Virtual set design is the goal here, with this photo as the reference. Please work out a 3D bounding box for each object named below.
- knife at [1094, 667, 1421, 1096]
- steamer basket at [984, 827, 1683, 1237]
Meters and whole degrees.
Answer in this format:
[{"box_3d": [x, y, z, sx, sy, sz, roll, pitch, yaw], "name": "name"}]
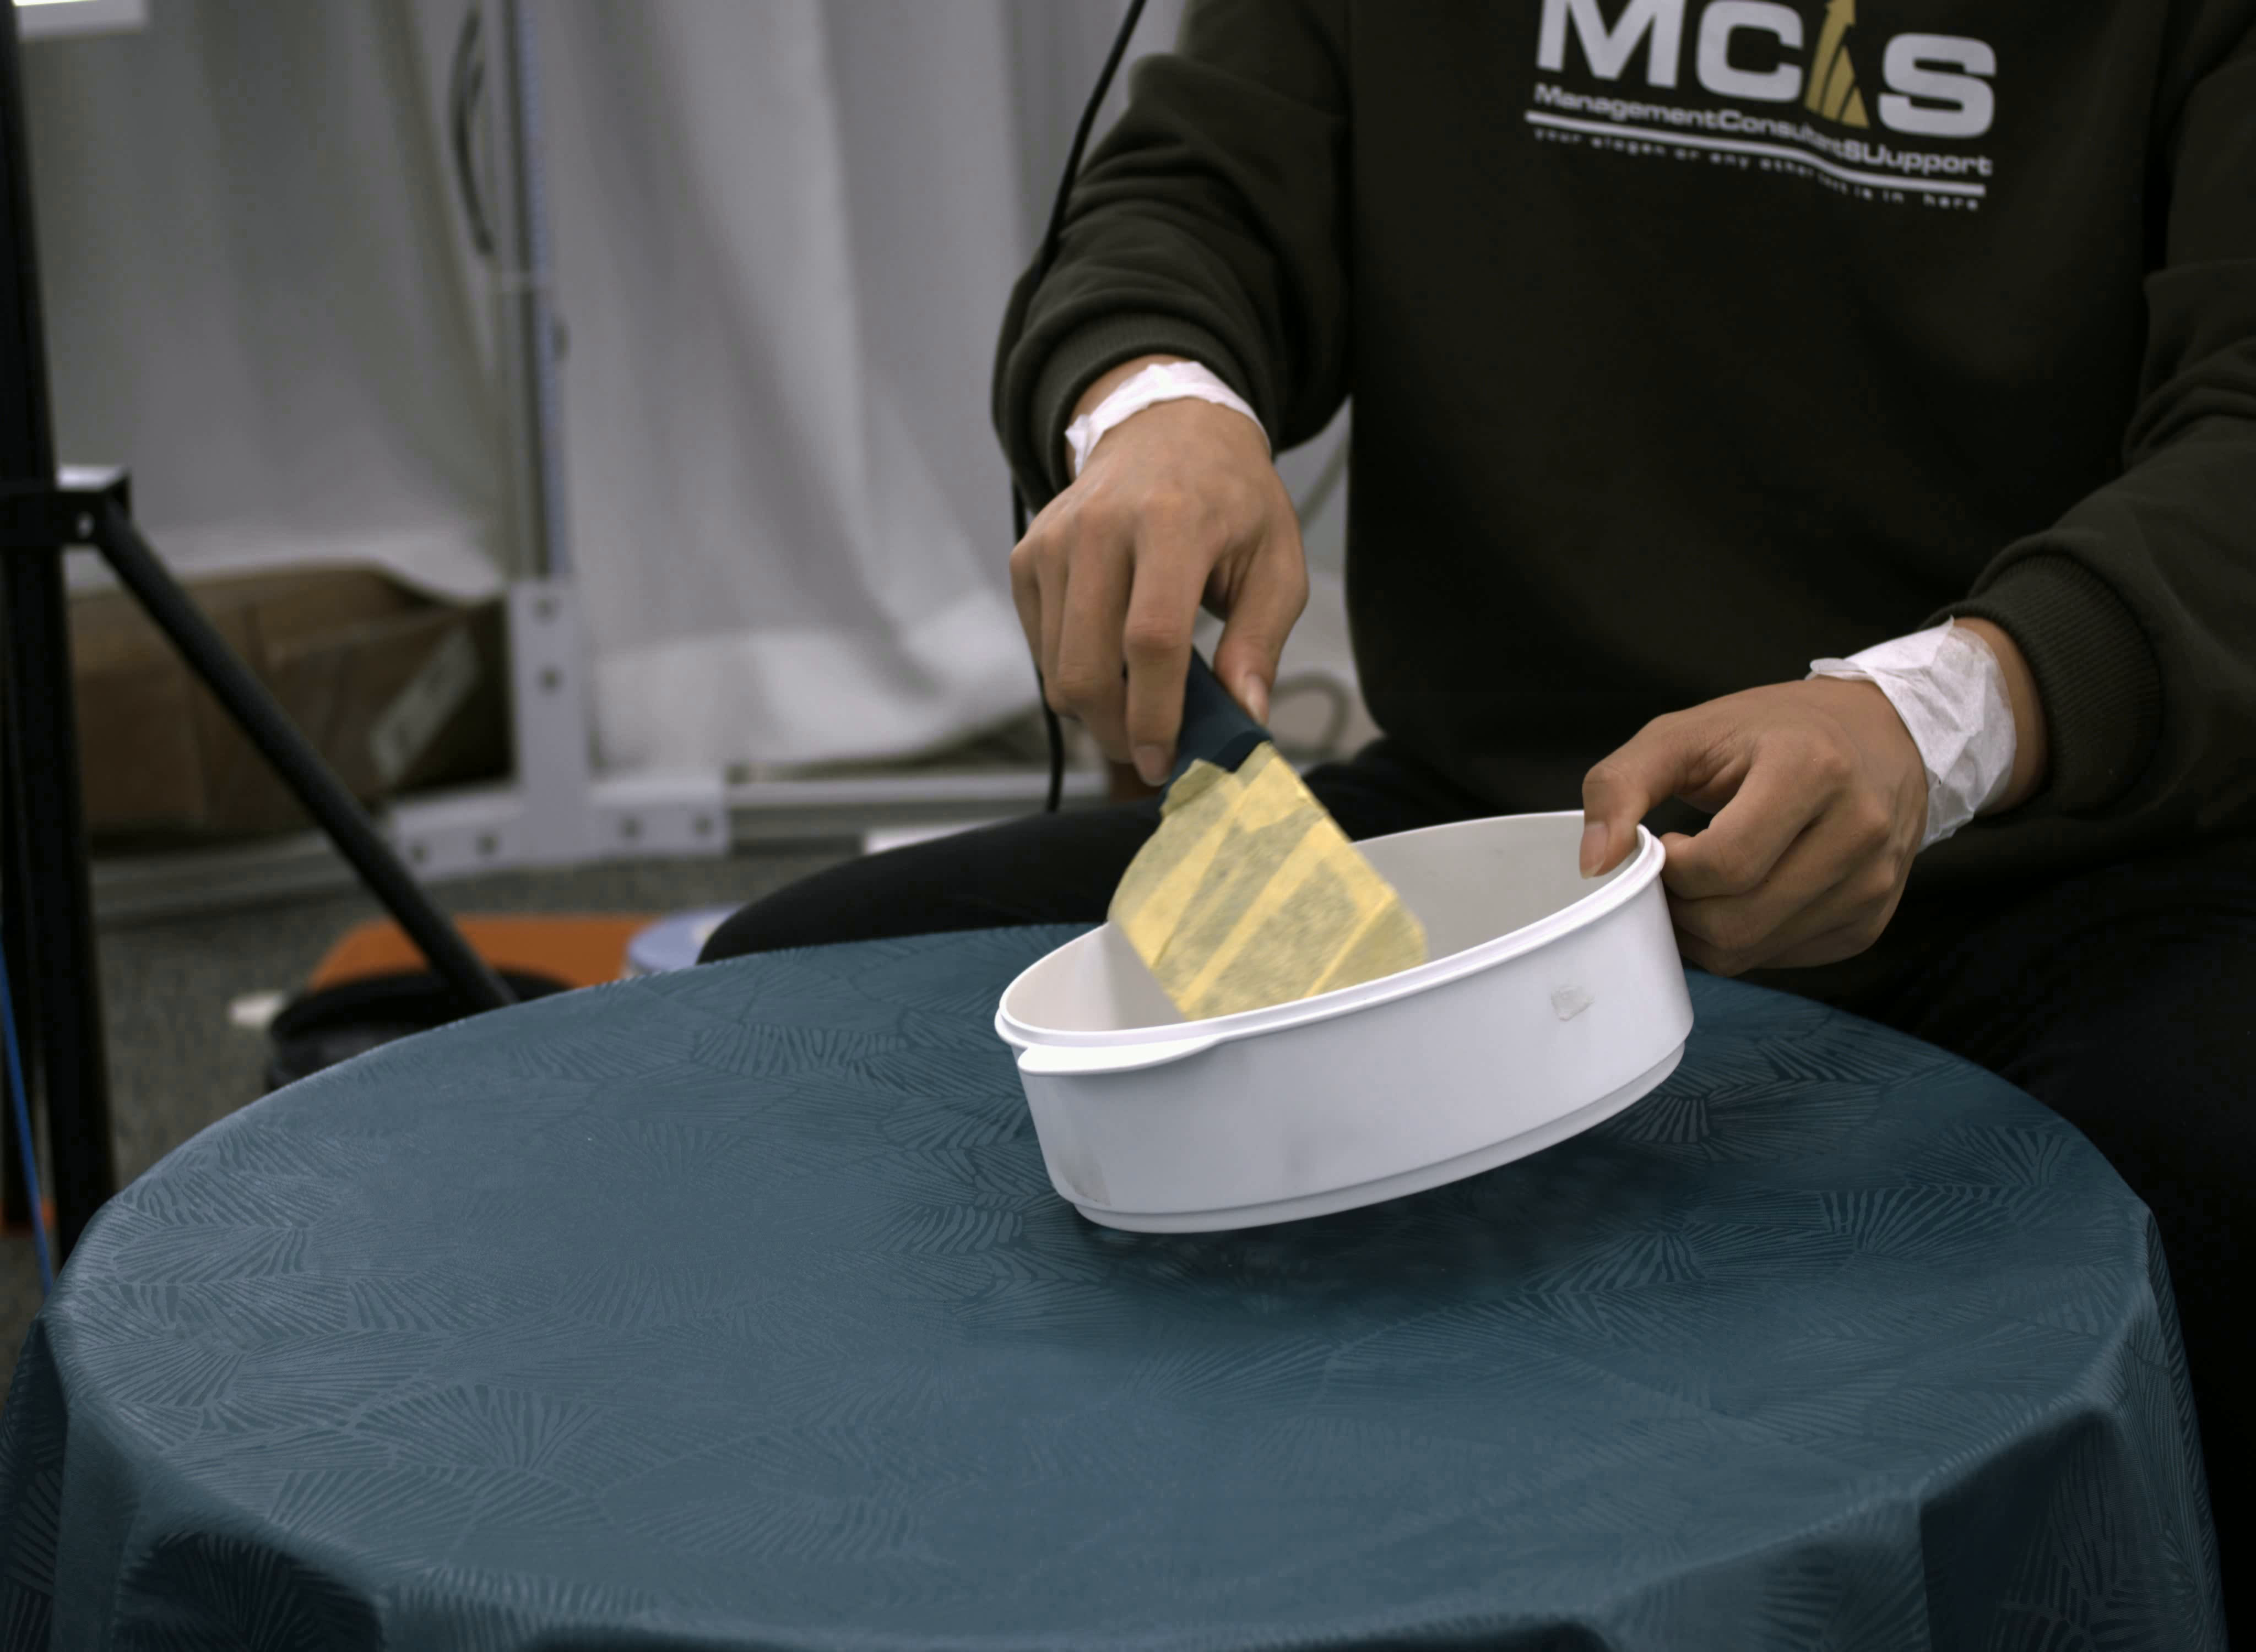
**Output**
[{"box_3d": [0.027, 0.016, 1.584, 0.081, 0.027, 0.294, -34, 26, 2], "name": "knife"}, {"box_3d": [0.062, 0.060, 1.539, 0.206, 0.069, 0.226, -4, 14, 44], "name": "steamer basket"}]
